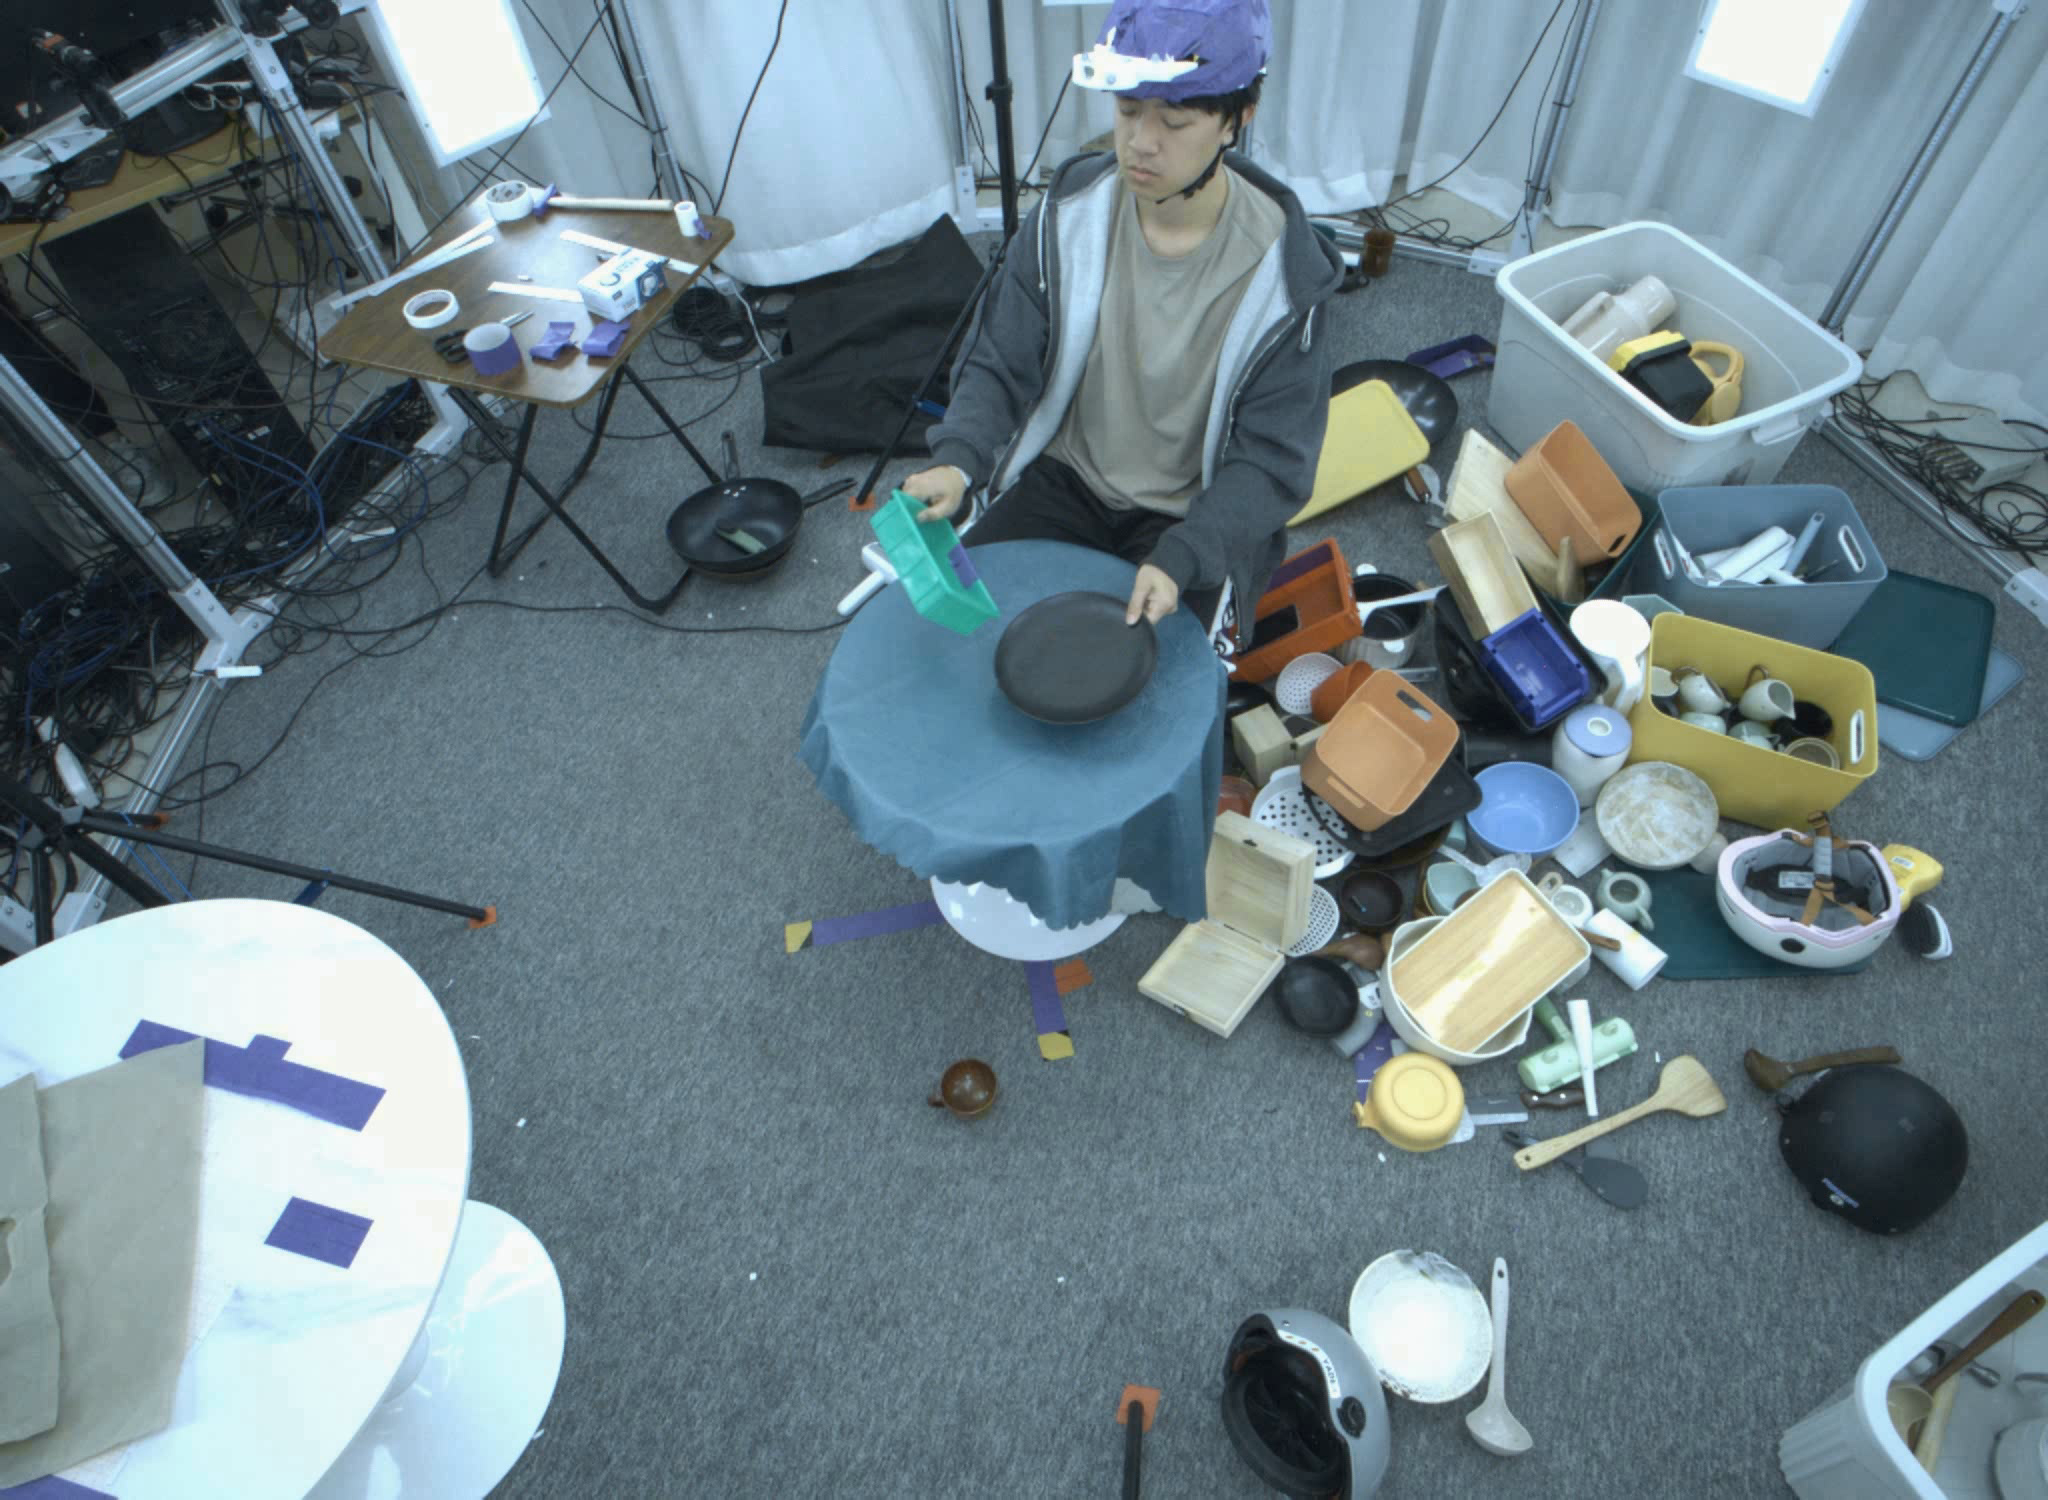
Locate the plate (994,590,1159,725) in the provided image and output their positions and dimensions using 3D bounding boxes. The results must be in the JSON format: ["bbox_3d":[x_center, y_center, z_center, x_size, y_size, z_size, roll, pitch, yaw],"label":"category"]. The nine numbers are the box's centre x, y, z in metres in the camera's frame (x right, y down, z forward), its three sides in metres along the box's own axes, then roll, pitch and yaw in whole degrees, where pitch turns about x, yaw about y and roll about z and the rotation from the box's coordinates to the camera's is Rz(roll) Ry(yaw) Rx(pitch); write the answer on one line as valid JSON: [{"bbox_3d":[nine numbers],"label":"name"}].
[{"bbox_3d":[0.077,-0.134,1.803,0.243,0.024,0.242,-4,58,8],"label":"plate"}]

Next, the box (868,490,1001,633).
[{"bbox_3d":[-0.133,-0.264,1.734,0.065,0.141,0.207,-39,66,17],"label":"box"}]
